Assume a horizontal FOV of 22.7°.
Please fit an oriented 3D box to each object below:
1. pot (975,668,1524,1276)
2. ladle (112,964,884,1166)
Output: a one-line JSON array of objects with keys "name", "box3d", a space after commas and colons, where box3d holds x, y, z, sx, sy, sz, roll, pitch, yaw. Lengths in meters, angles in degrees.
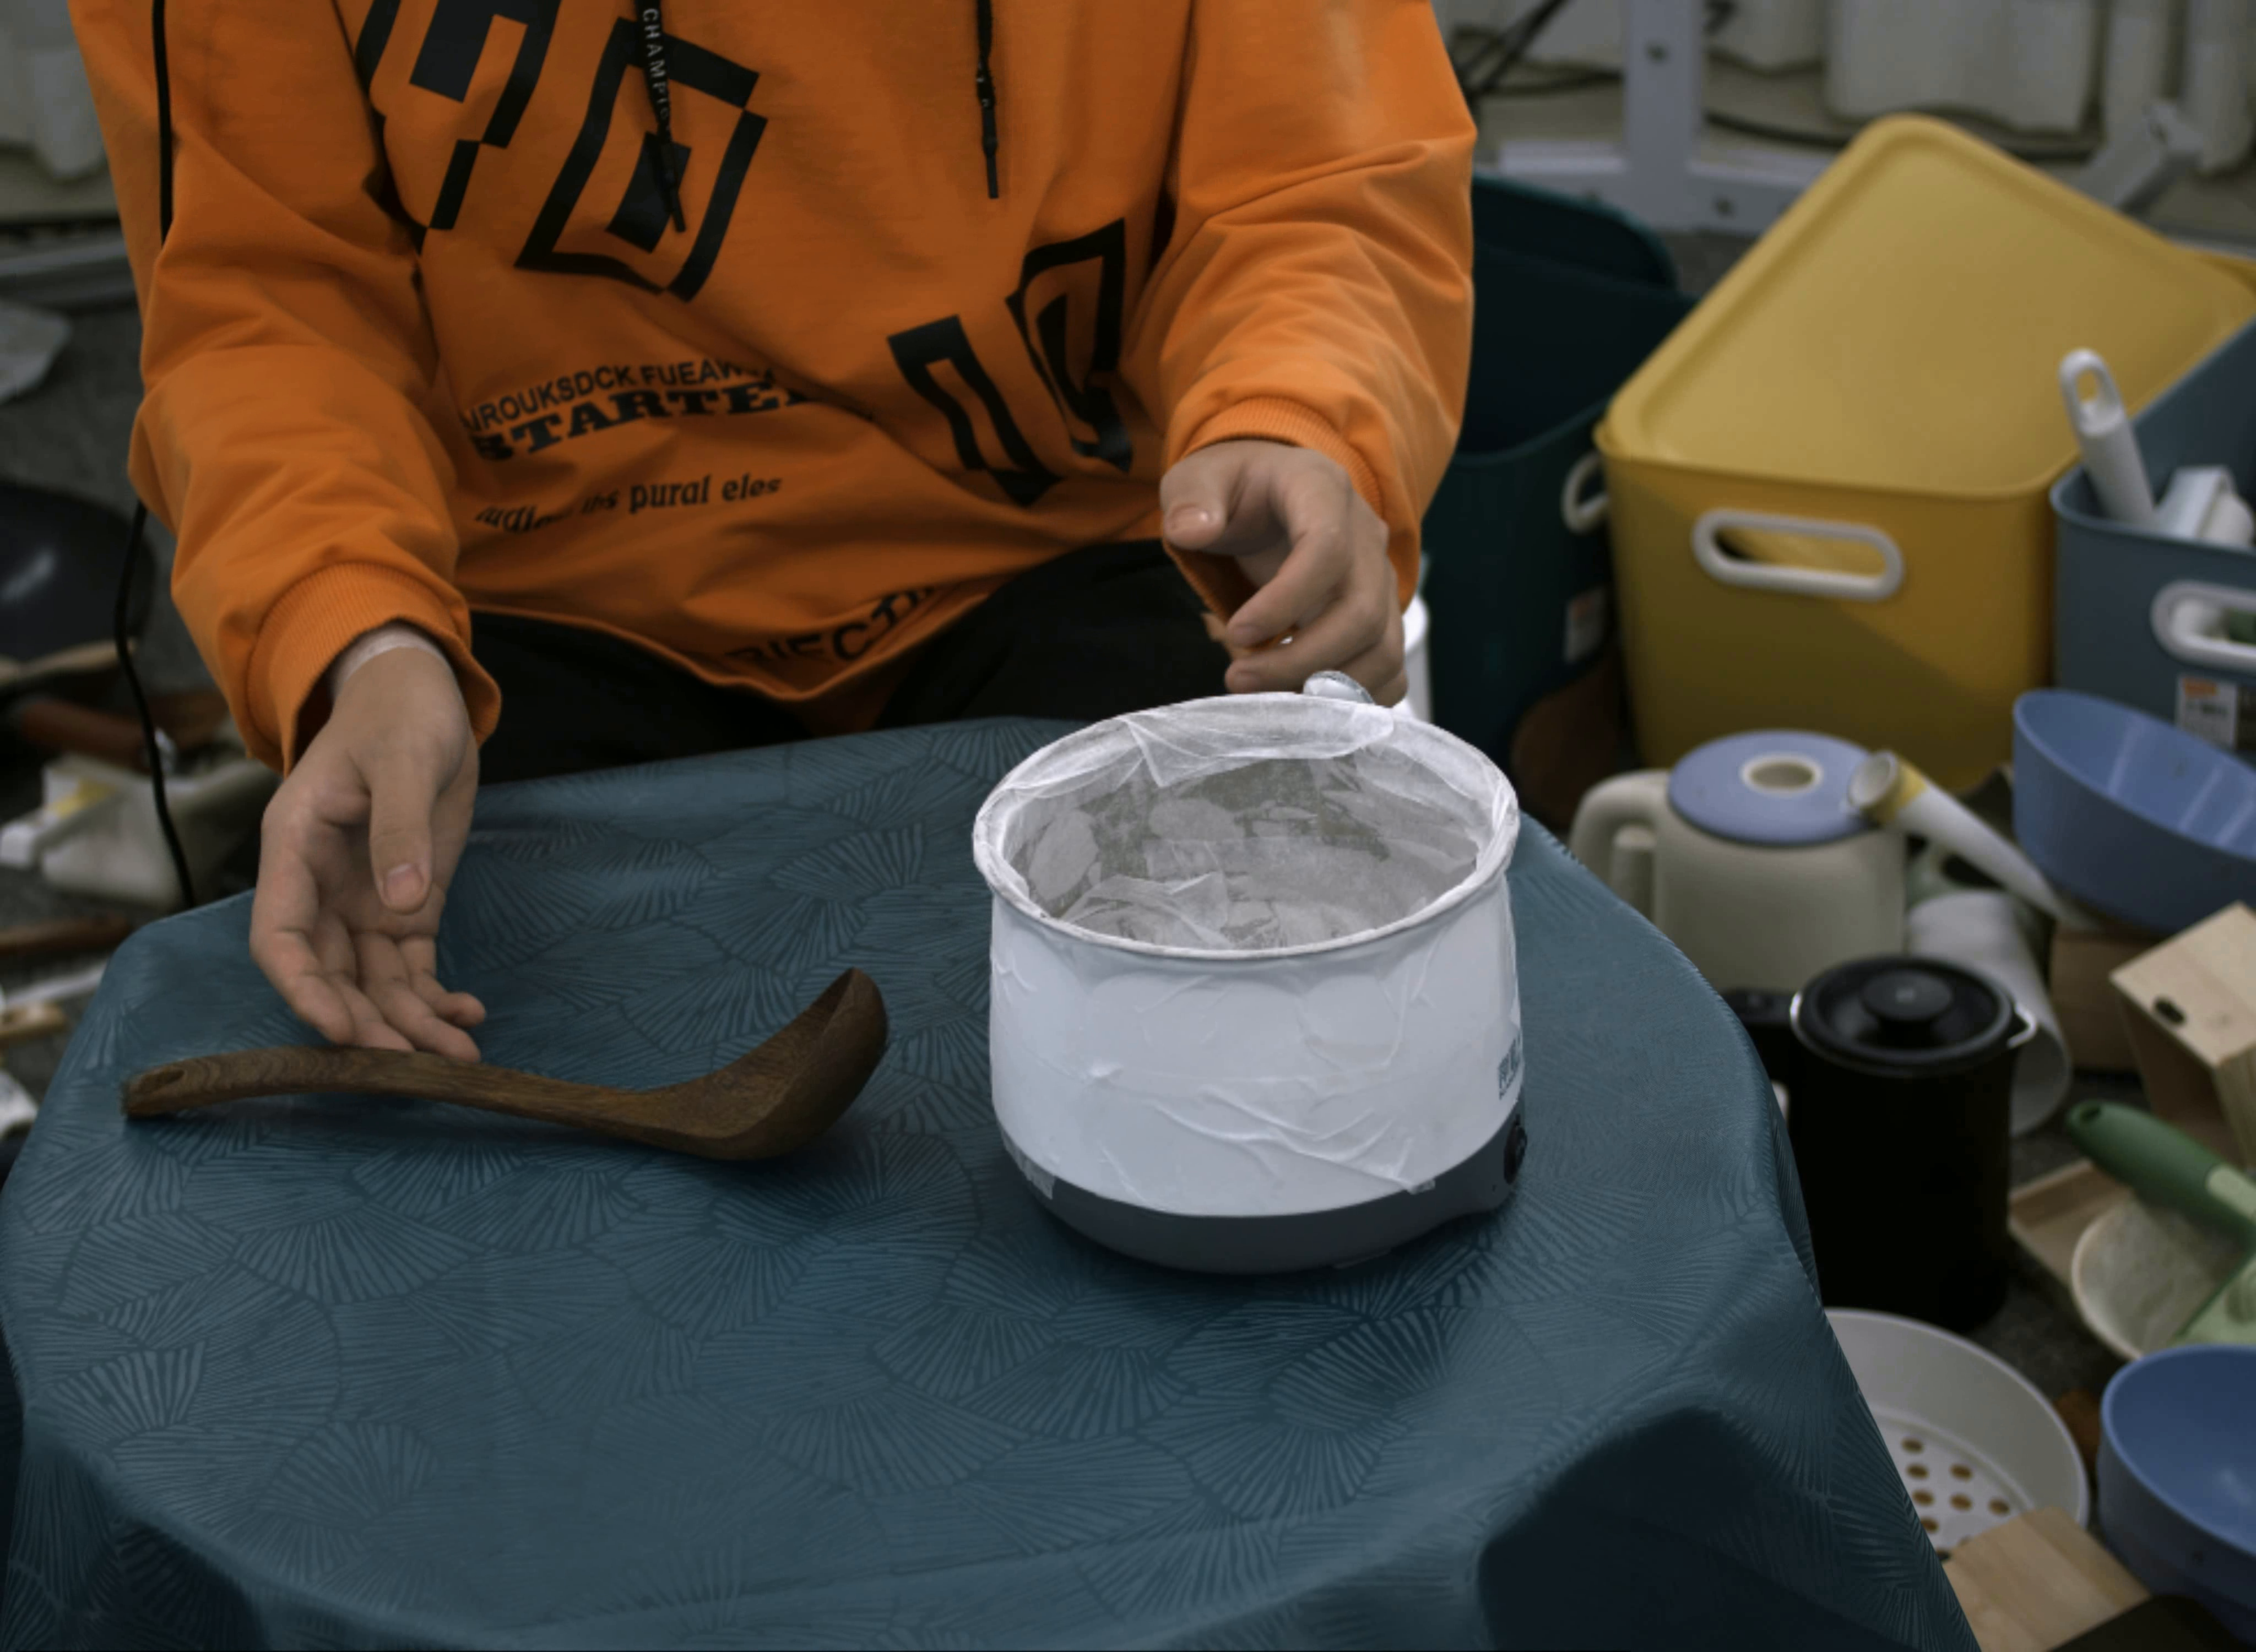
[{"name": "pot", "box3d": [0.049, 0.041, 1.866, 0.177, 0.135, 0.238, 5, 29, 15]}, {"name": "ladle", "box3d": [-0.216, 0.074, 1.900, 0.272, 0.070, 0.077, 4, 25, 11]}]
